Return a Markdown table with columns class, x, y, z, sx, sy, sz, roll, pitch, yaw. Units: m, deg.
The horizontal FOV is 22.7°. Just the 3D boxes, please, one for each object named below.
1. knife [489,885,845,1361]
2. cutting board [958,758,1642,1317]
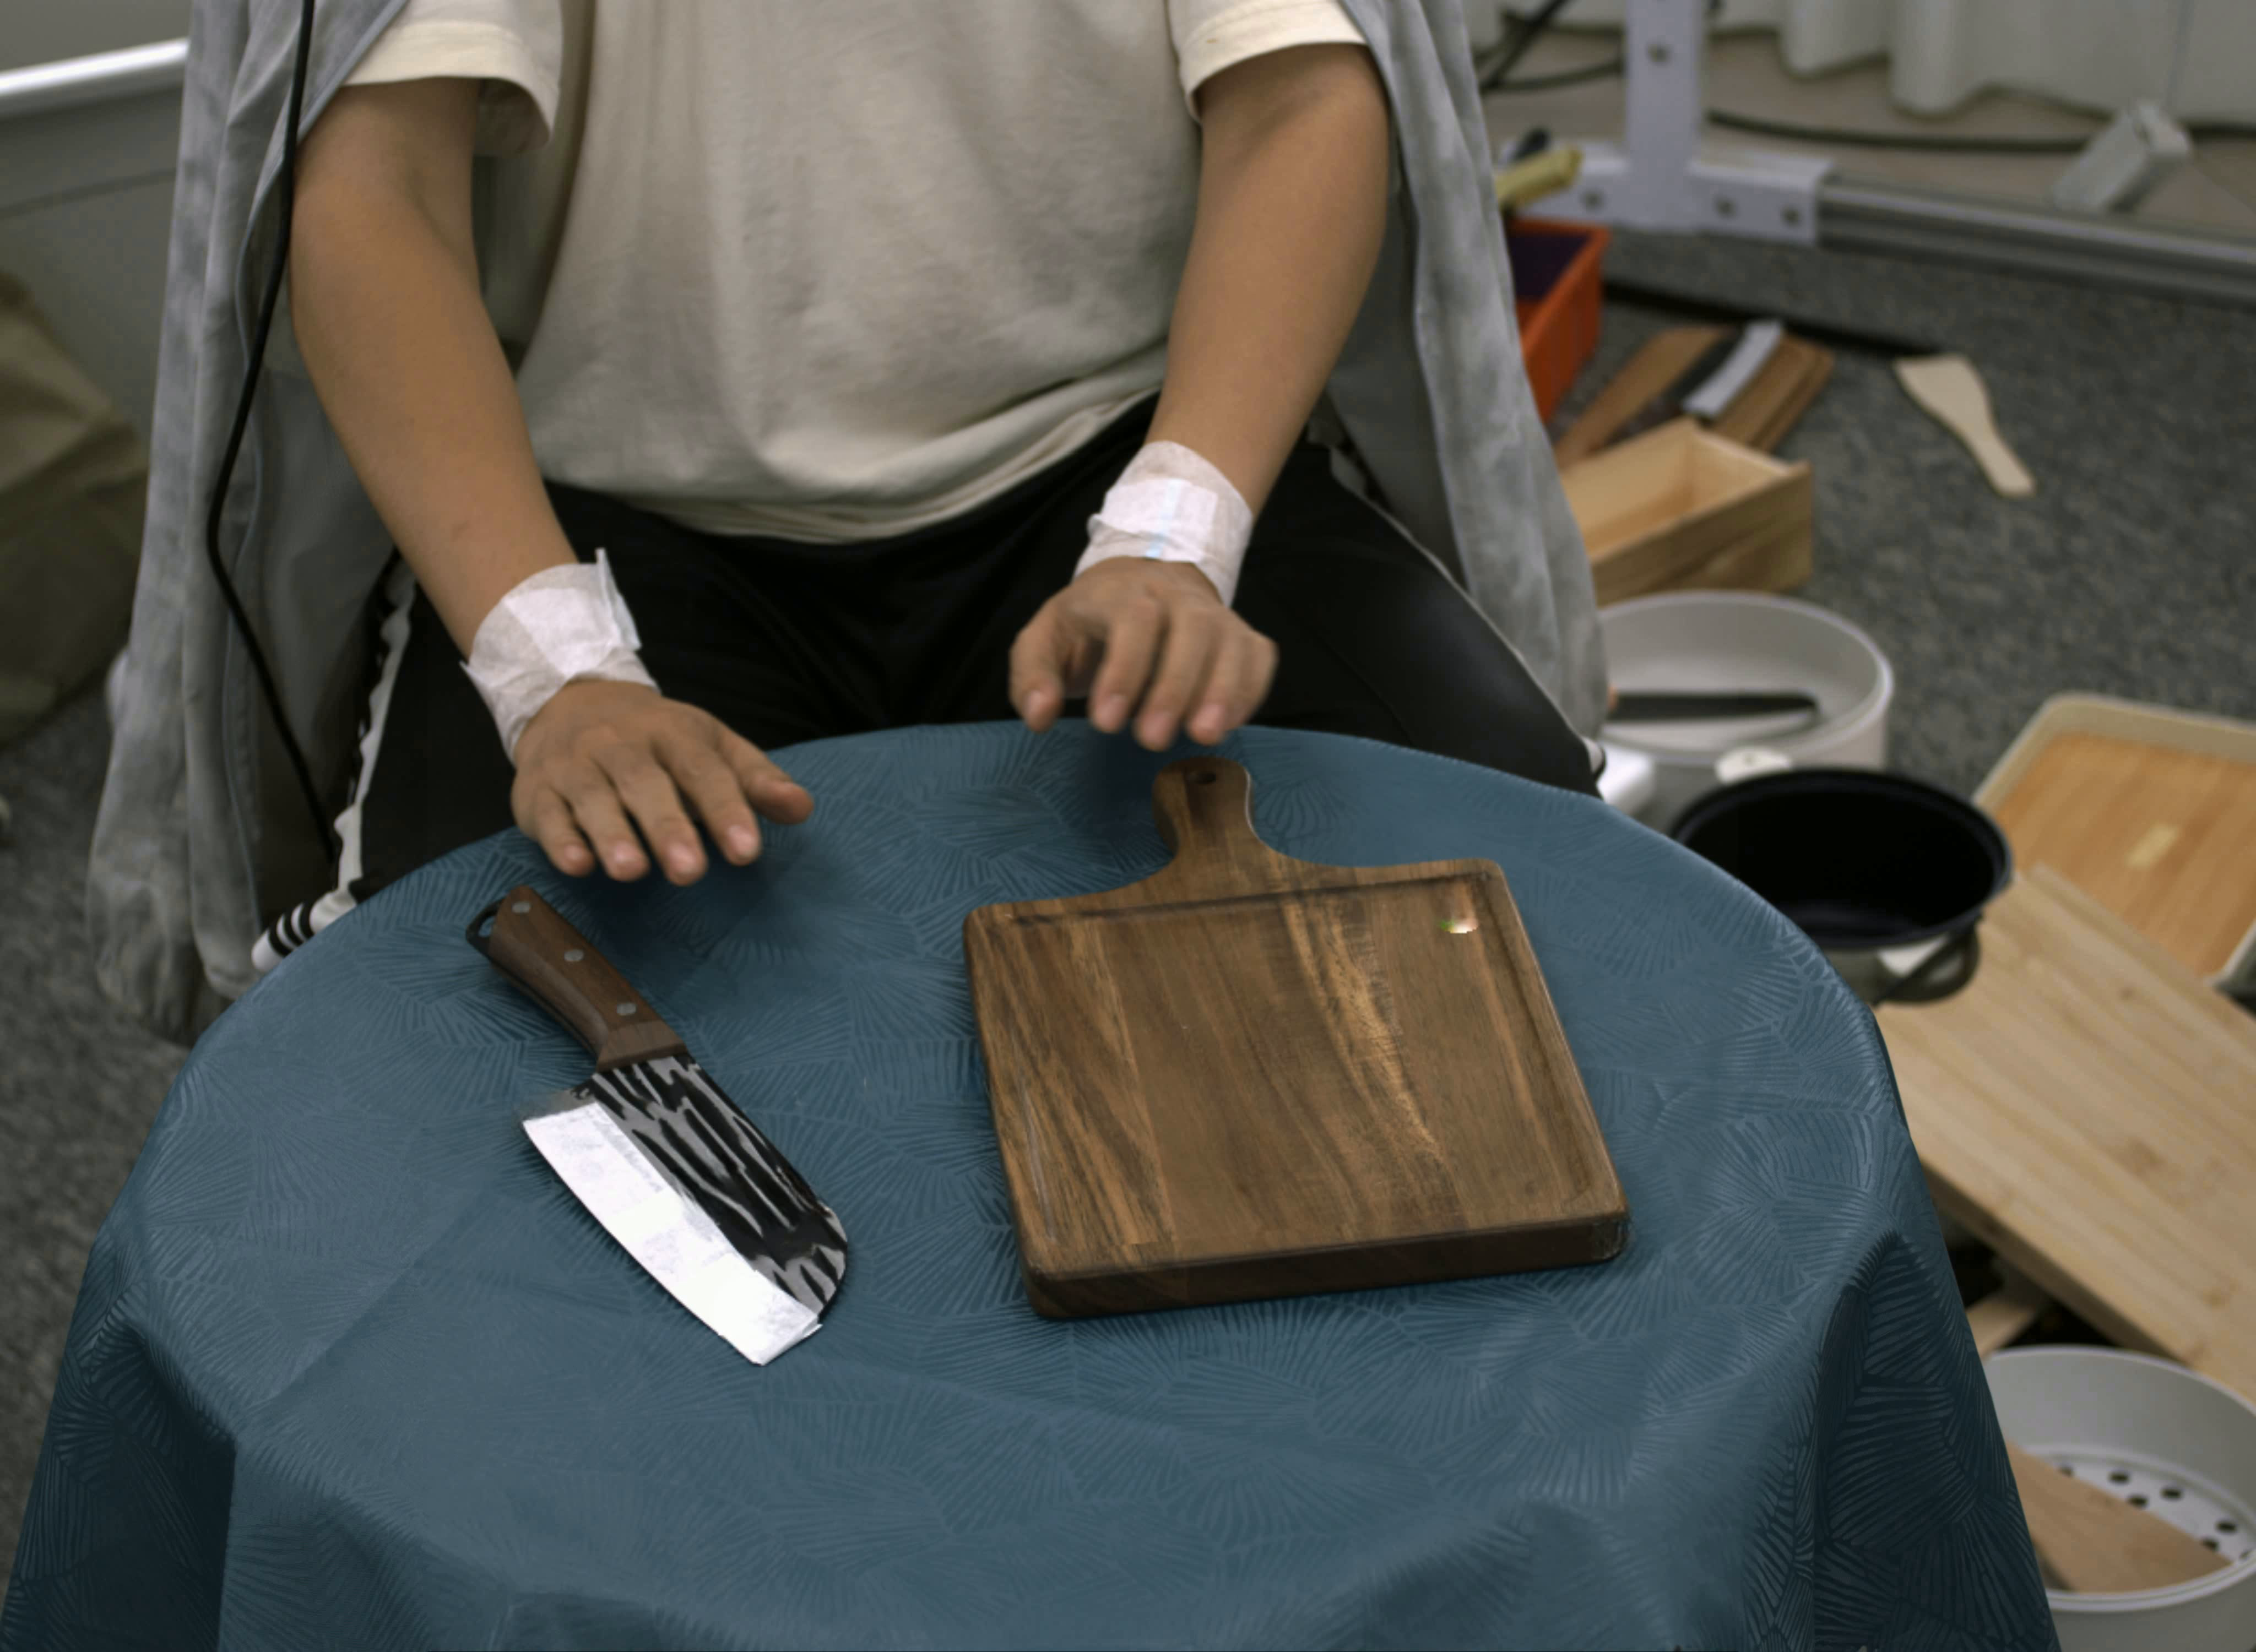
| class | x | y | z | sx | sy | sz | roll | pitch | yaw |
| --- | --- | --- | --- | --- | --- | --- | --- | --- | --- |
| knife | -0.168 | 0.099 | 1.900 | 0.068 | 0.023 | 0.301 | -17 | 33 | -22 |
| cutting board | 0.046 | 0.061 | 1.949 | 0.200 | 0.023 | 0.357 | -5 | 27 | -5 |
